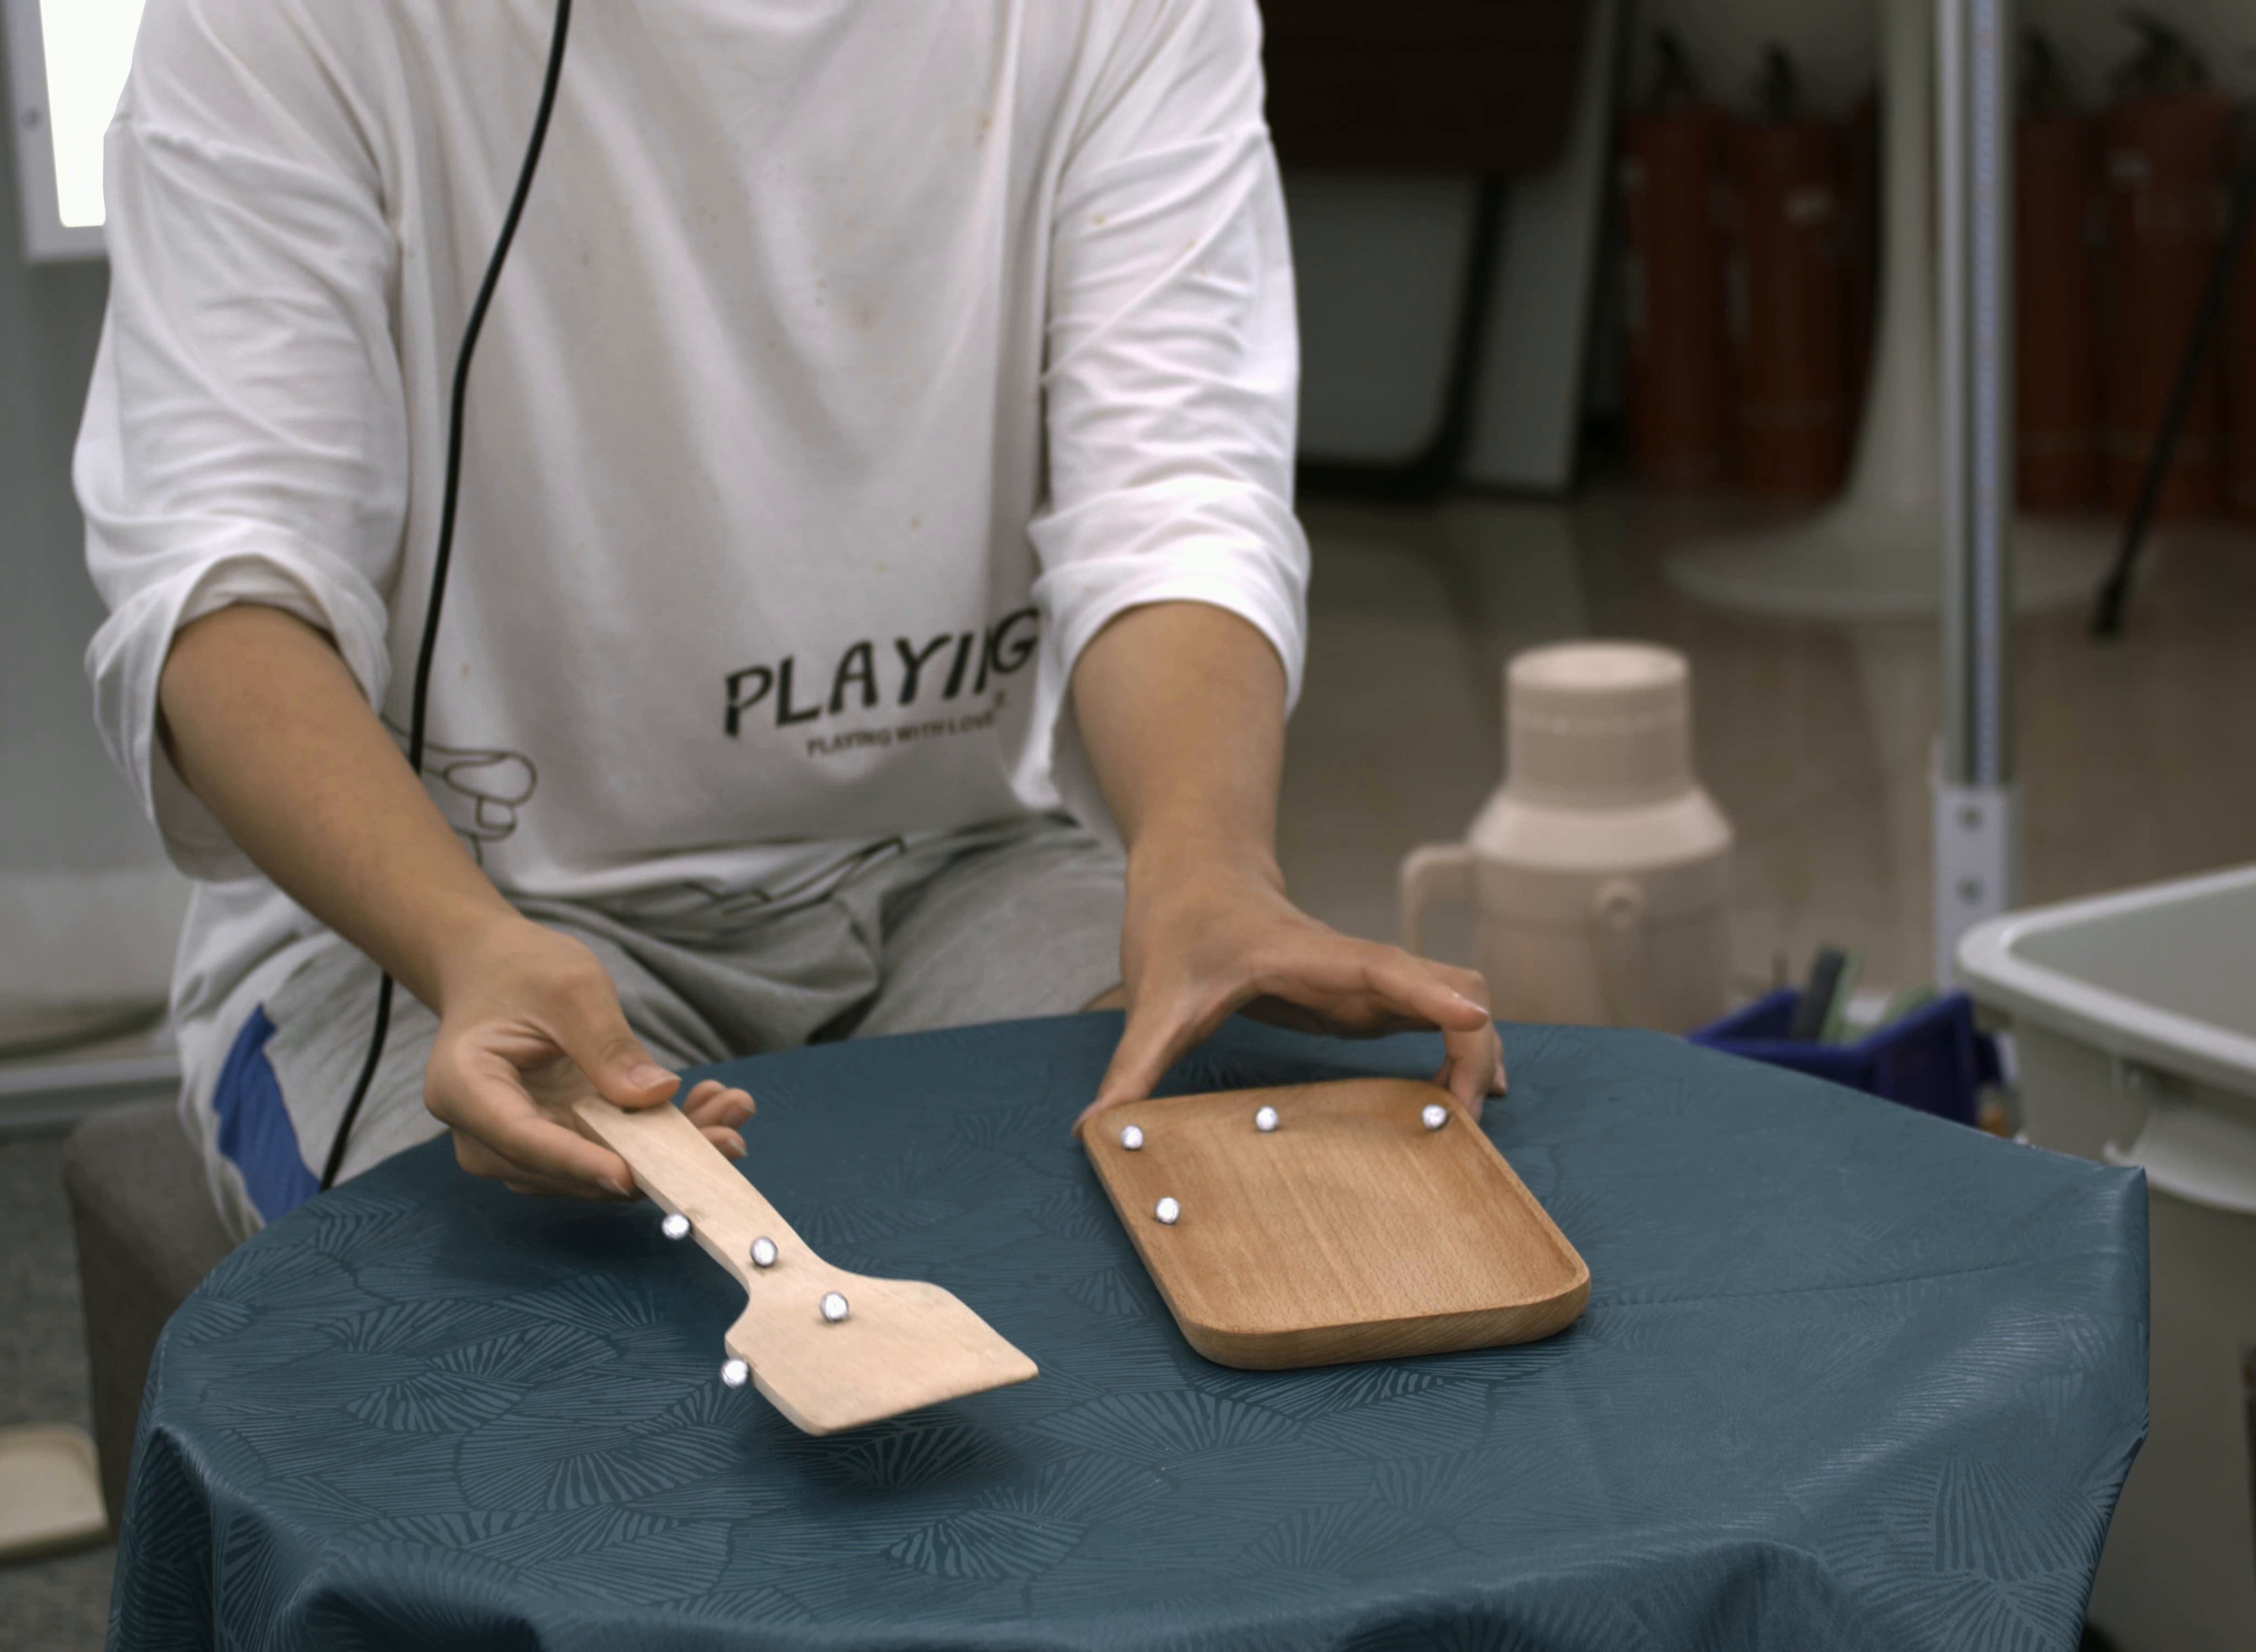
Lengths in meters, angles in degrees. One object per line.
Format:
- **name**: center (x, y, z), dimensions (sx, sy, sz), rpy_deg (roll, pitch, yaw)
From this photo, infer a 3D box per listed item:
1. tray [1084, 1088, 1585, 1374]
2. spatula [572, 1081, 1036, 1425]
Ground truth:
- **tray**: center (0.062, 0.126, 1.708), dimensions (0.128, 0.023, 0.252), rpy_deg (-8, 14, -5)
- **spatula**: center (-0.114, 0.125, 1.641), dimensions (0.071, 0.011, 0.296), rpy_deg (-14, 20, -20)
